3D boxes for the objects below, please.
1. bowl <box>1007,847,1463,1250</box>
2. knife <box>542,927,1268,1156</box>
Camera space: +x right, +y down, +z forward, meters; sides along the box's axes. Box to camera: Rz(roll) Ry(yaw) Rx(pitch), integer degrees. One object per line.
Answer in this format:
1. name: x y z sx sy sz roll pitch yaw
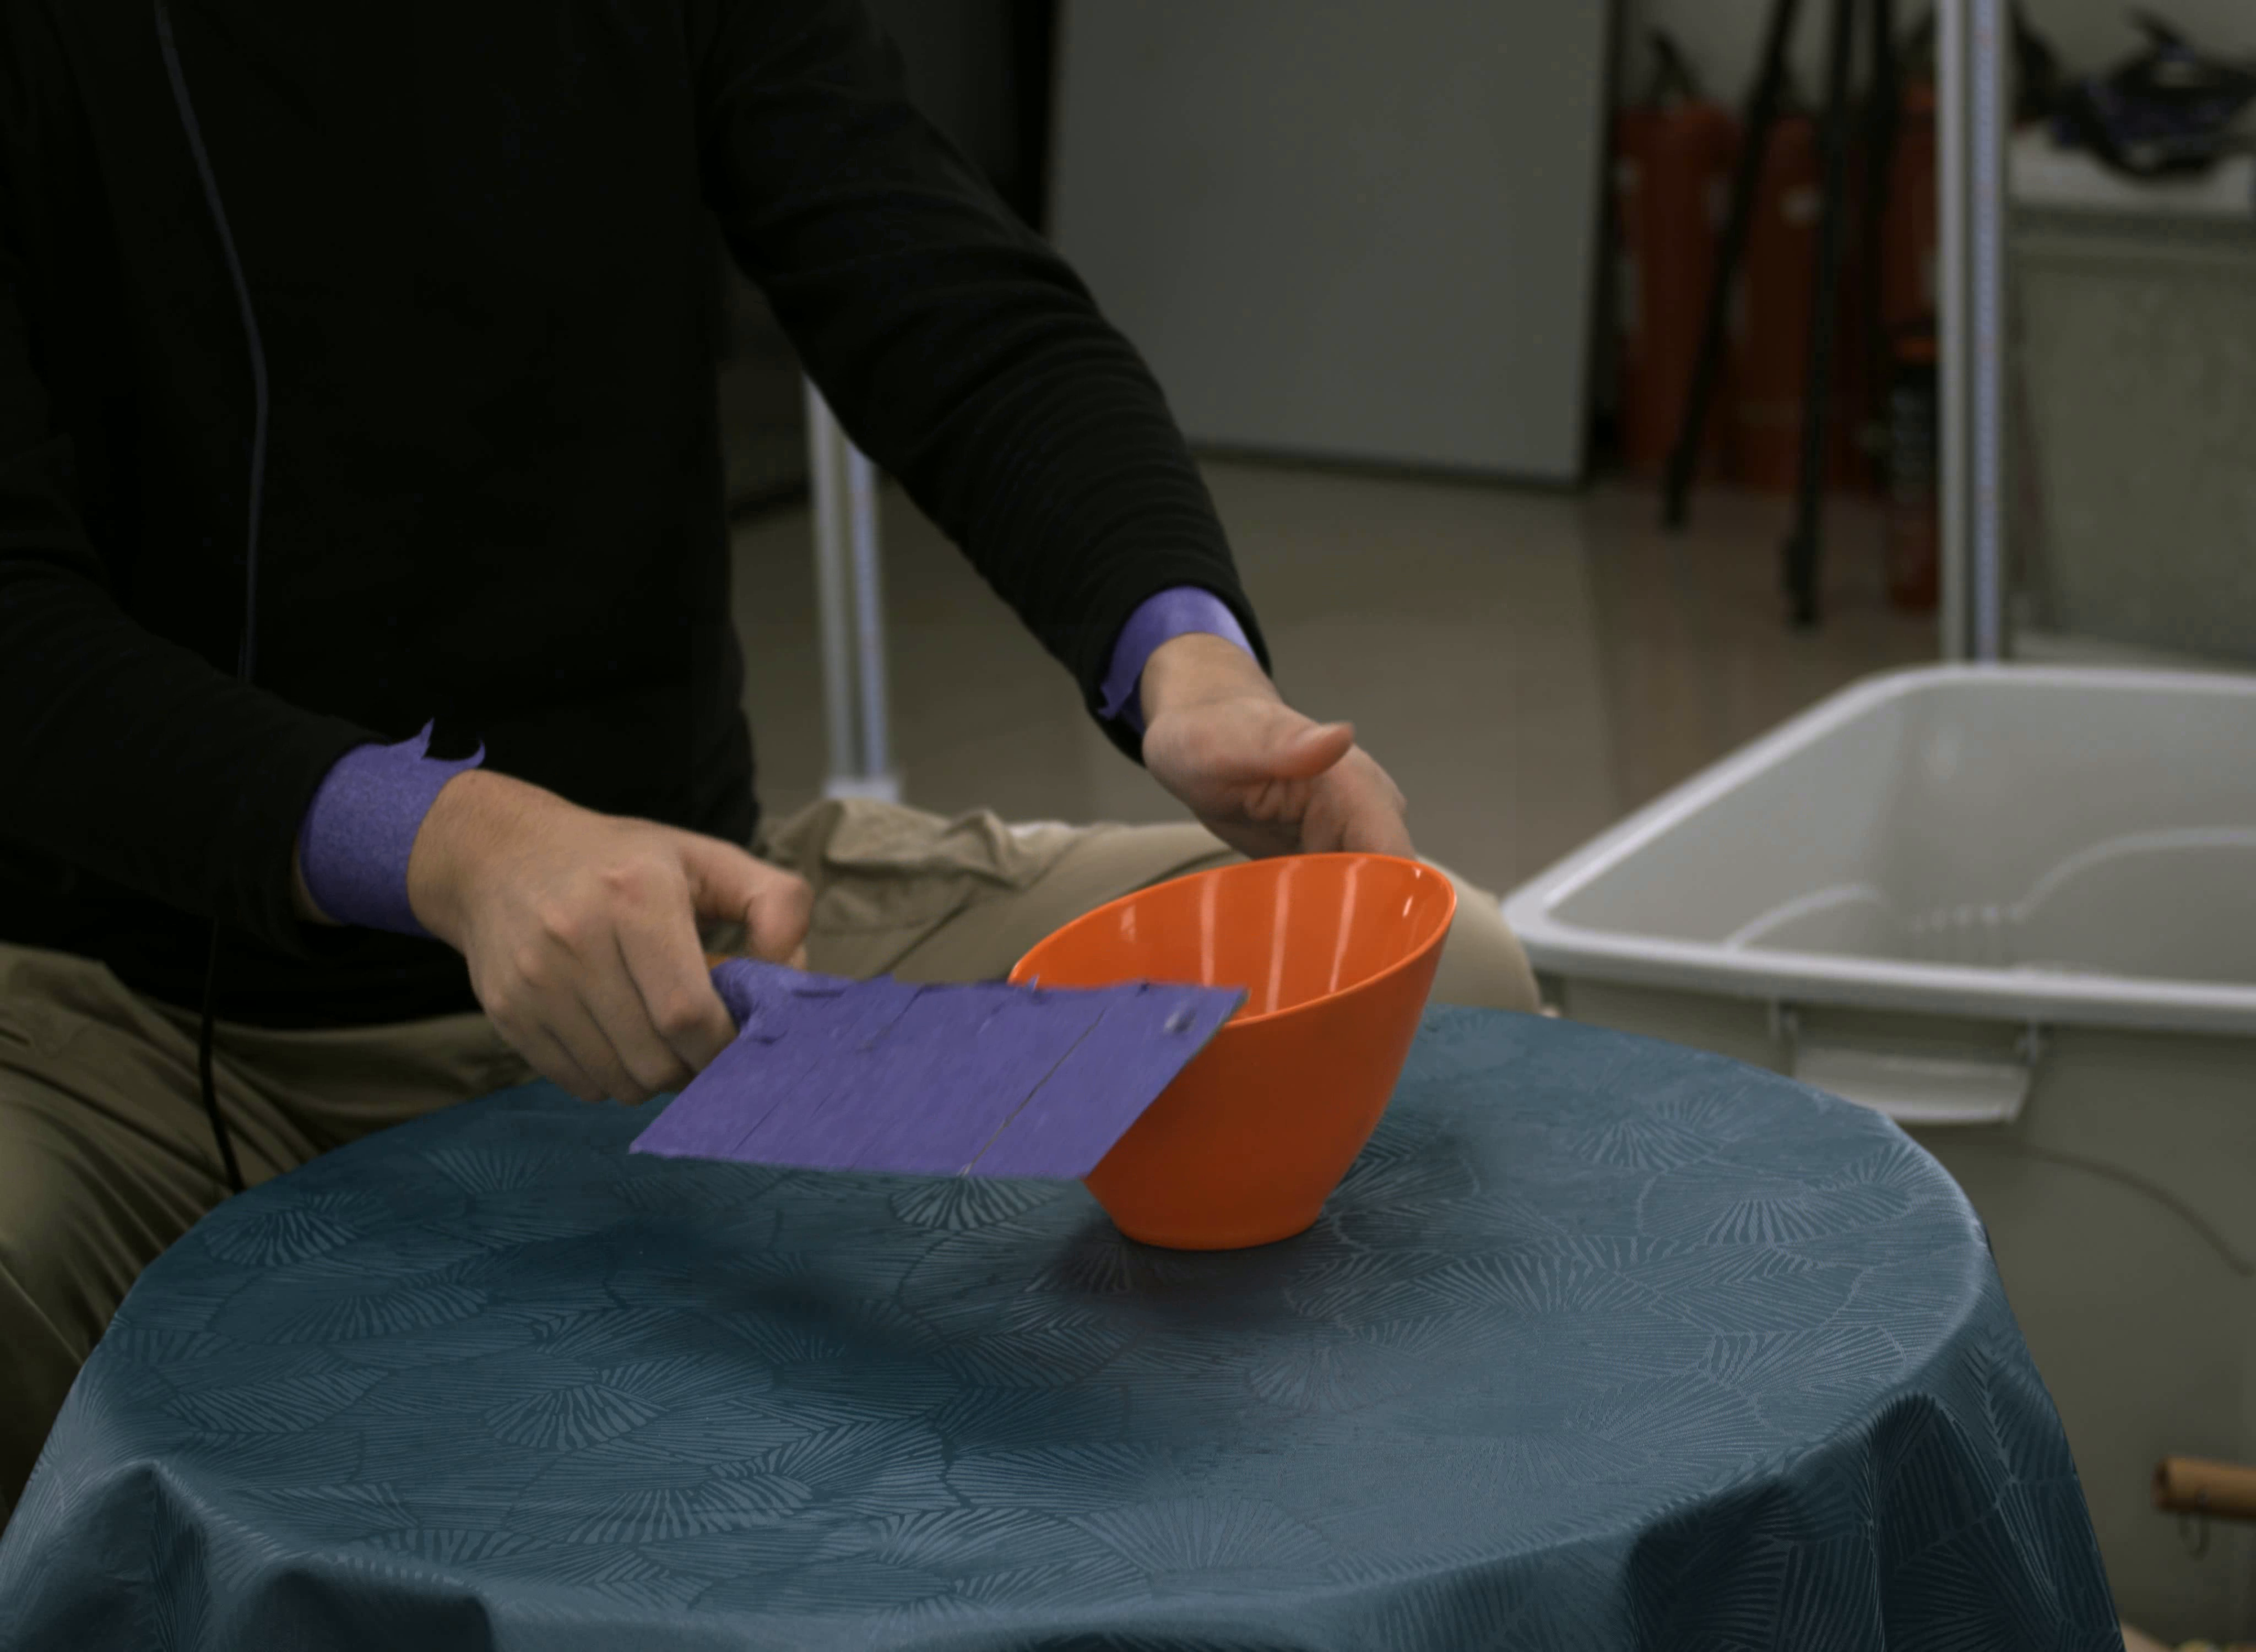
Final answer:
1. bowl: 0.035 0.074 1.730 0.146 0.106 0.148 -1 16 -1
2. knife: -0.094 0.067 1.673 0.318 0.032 0.103 -5 32 47
